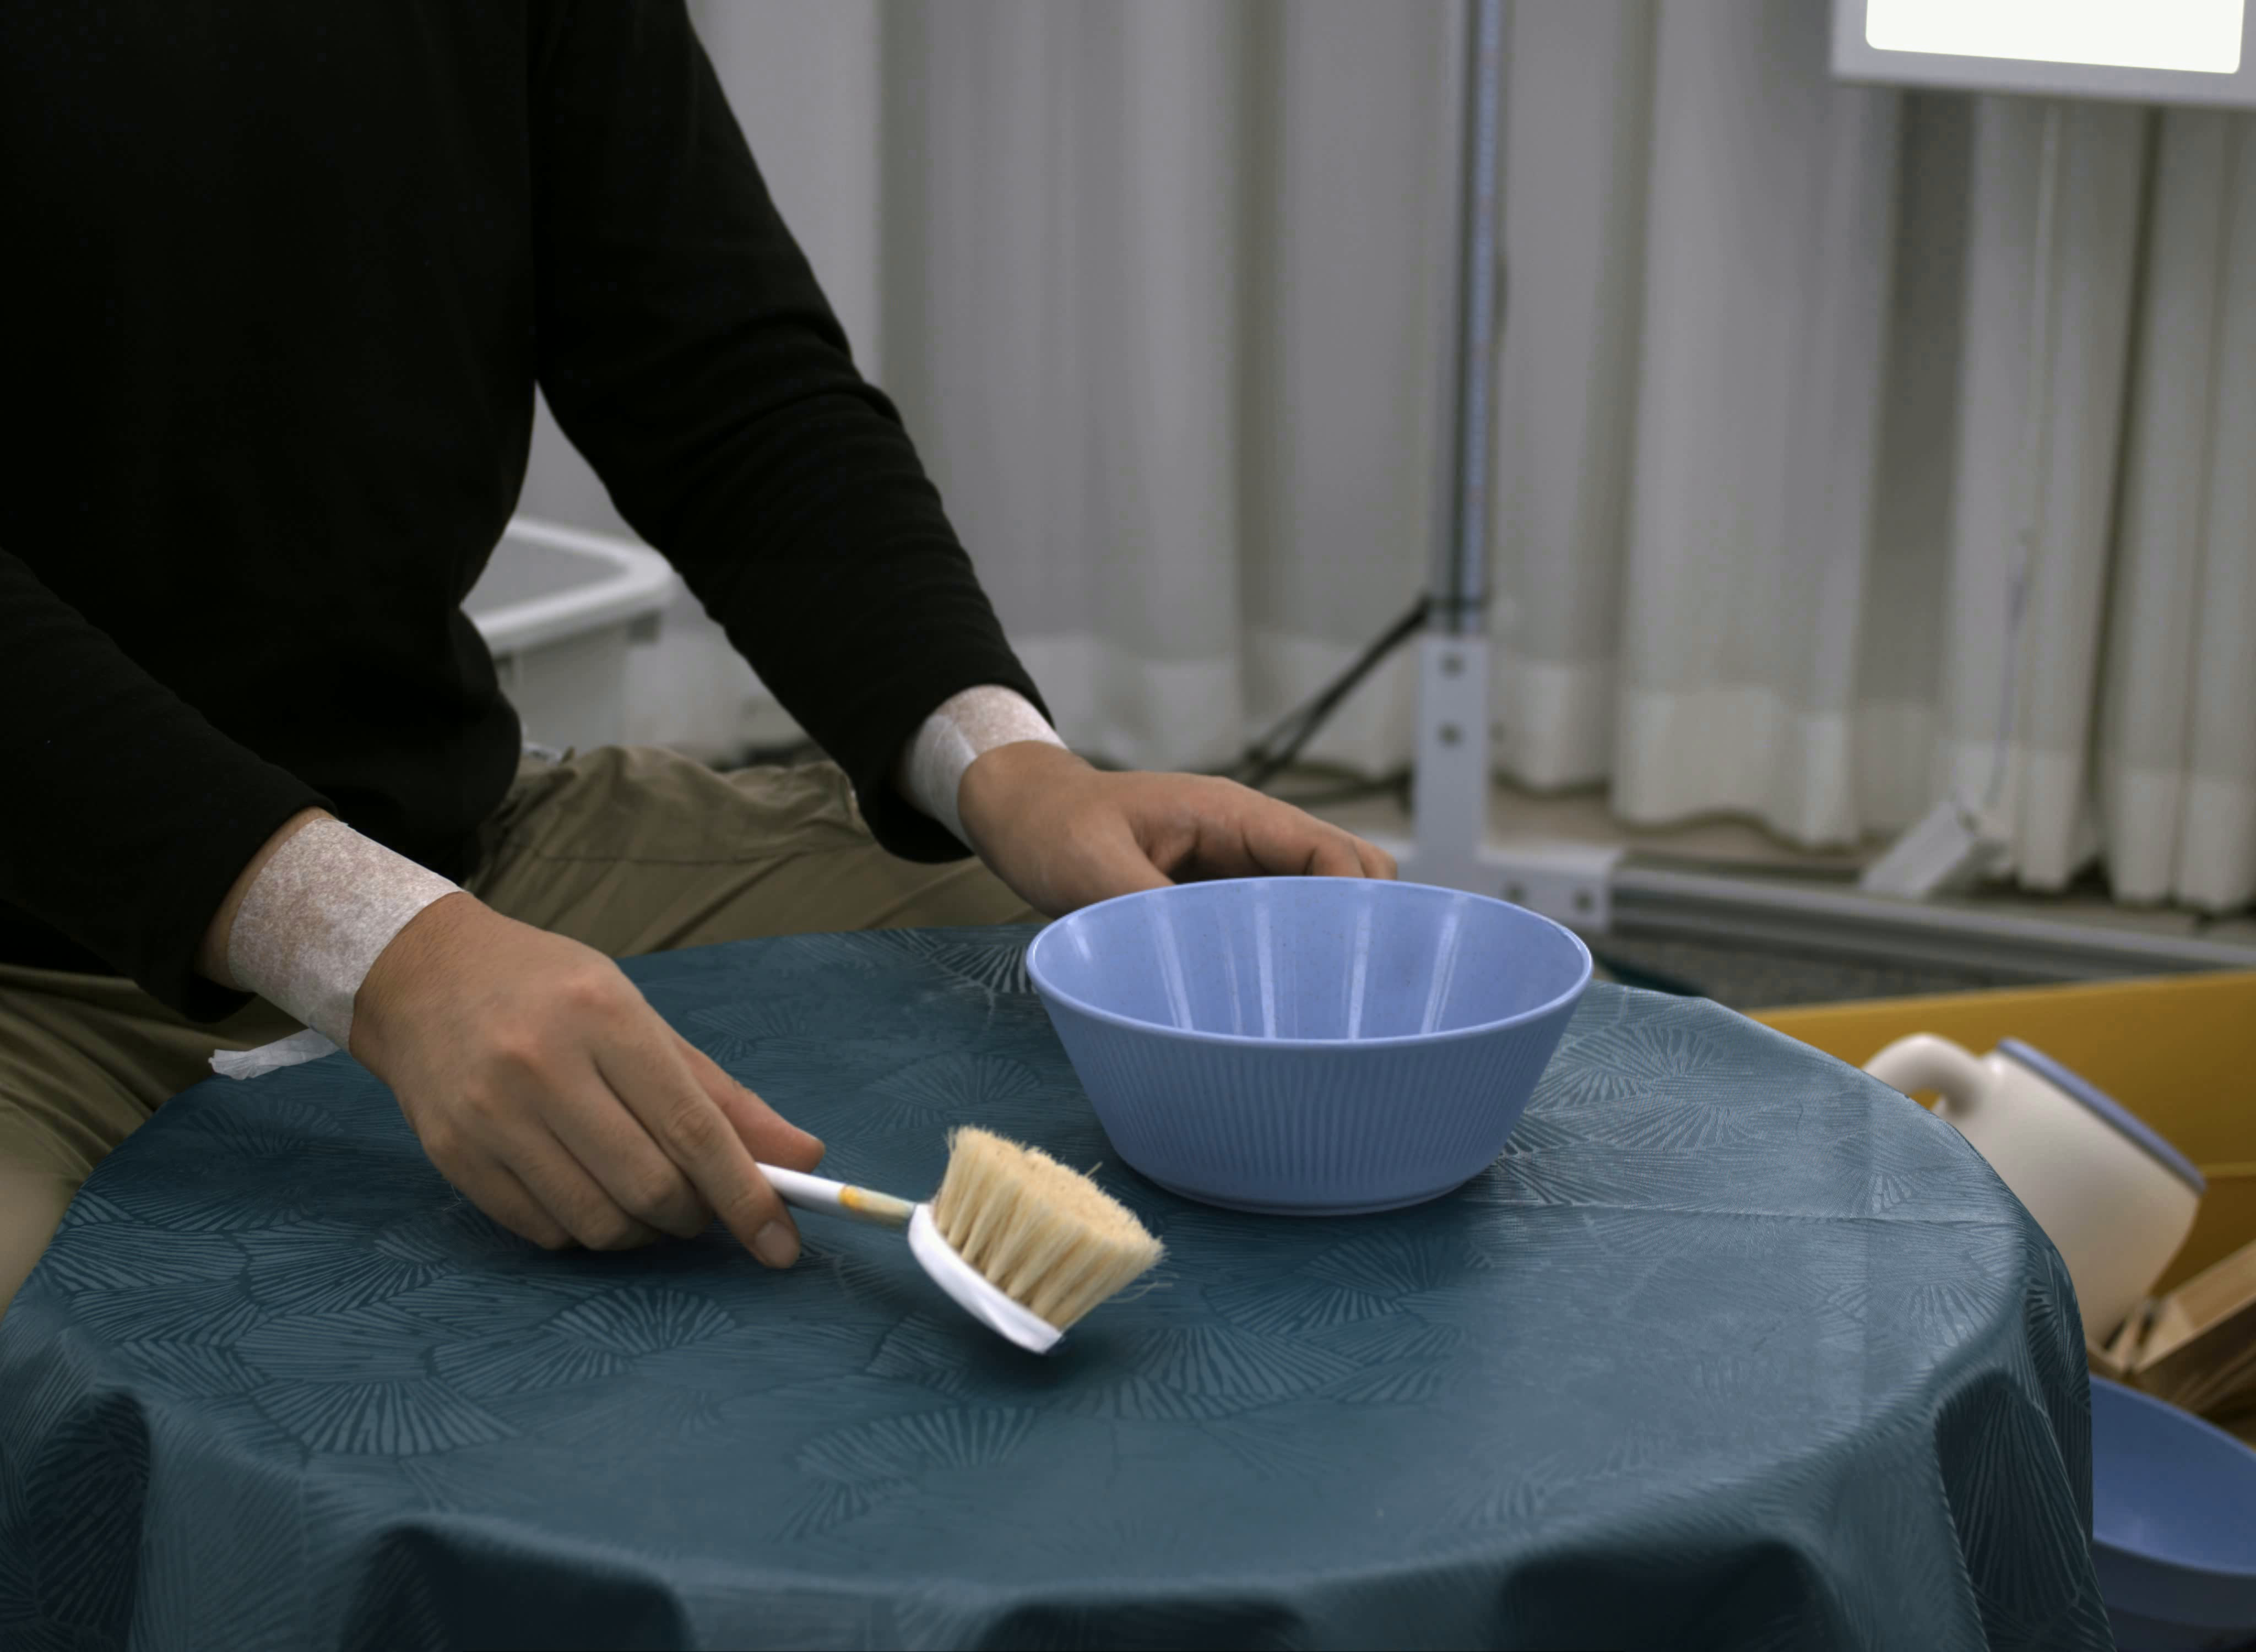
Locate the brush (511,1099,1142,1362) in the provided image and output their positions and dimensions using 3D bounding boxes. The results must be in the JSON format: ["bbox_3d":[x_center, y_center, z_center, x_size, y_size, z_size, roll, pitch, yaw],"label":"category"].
[{"bbox_3d":[-0.095,0.097,1.550,0.263,0.056,0.069,15,-16,49],"label":"brush"}]

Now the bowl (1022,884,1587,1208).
[{"bbox_3d":[0.054,0.070,1.639,0.175,0.071,0.175,1,14,0],"label":"bowl"}]
